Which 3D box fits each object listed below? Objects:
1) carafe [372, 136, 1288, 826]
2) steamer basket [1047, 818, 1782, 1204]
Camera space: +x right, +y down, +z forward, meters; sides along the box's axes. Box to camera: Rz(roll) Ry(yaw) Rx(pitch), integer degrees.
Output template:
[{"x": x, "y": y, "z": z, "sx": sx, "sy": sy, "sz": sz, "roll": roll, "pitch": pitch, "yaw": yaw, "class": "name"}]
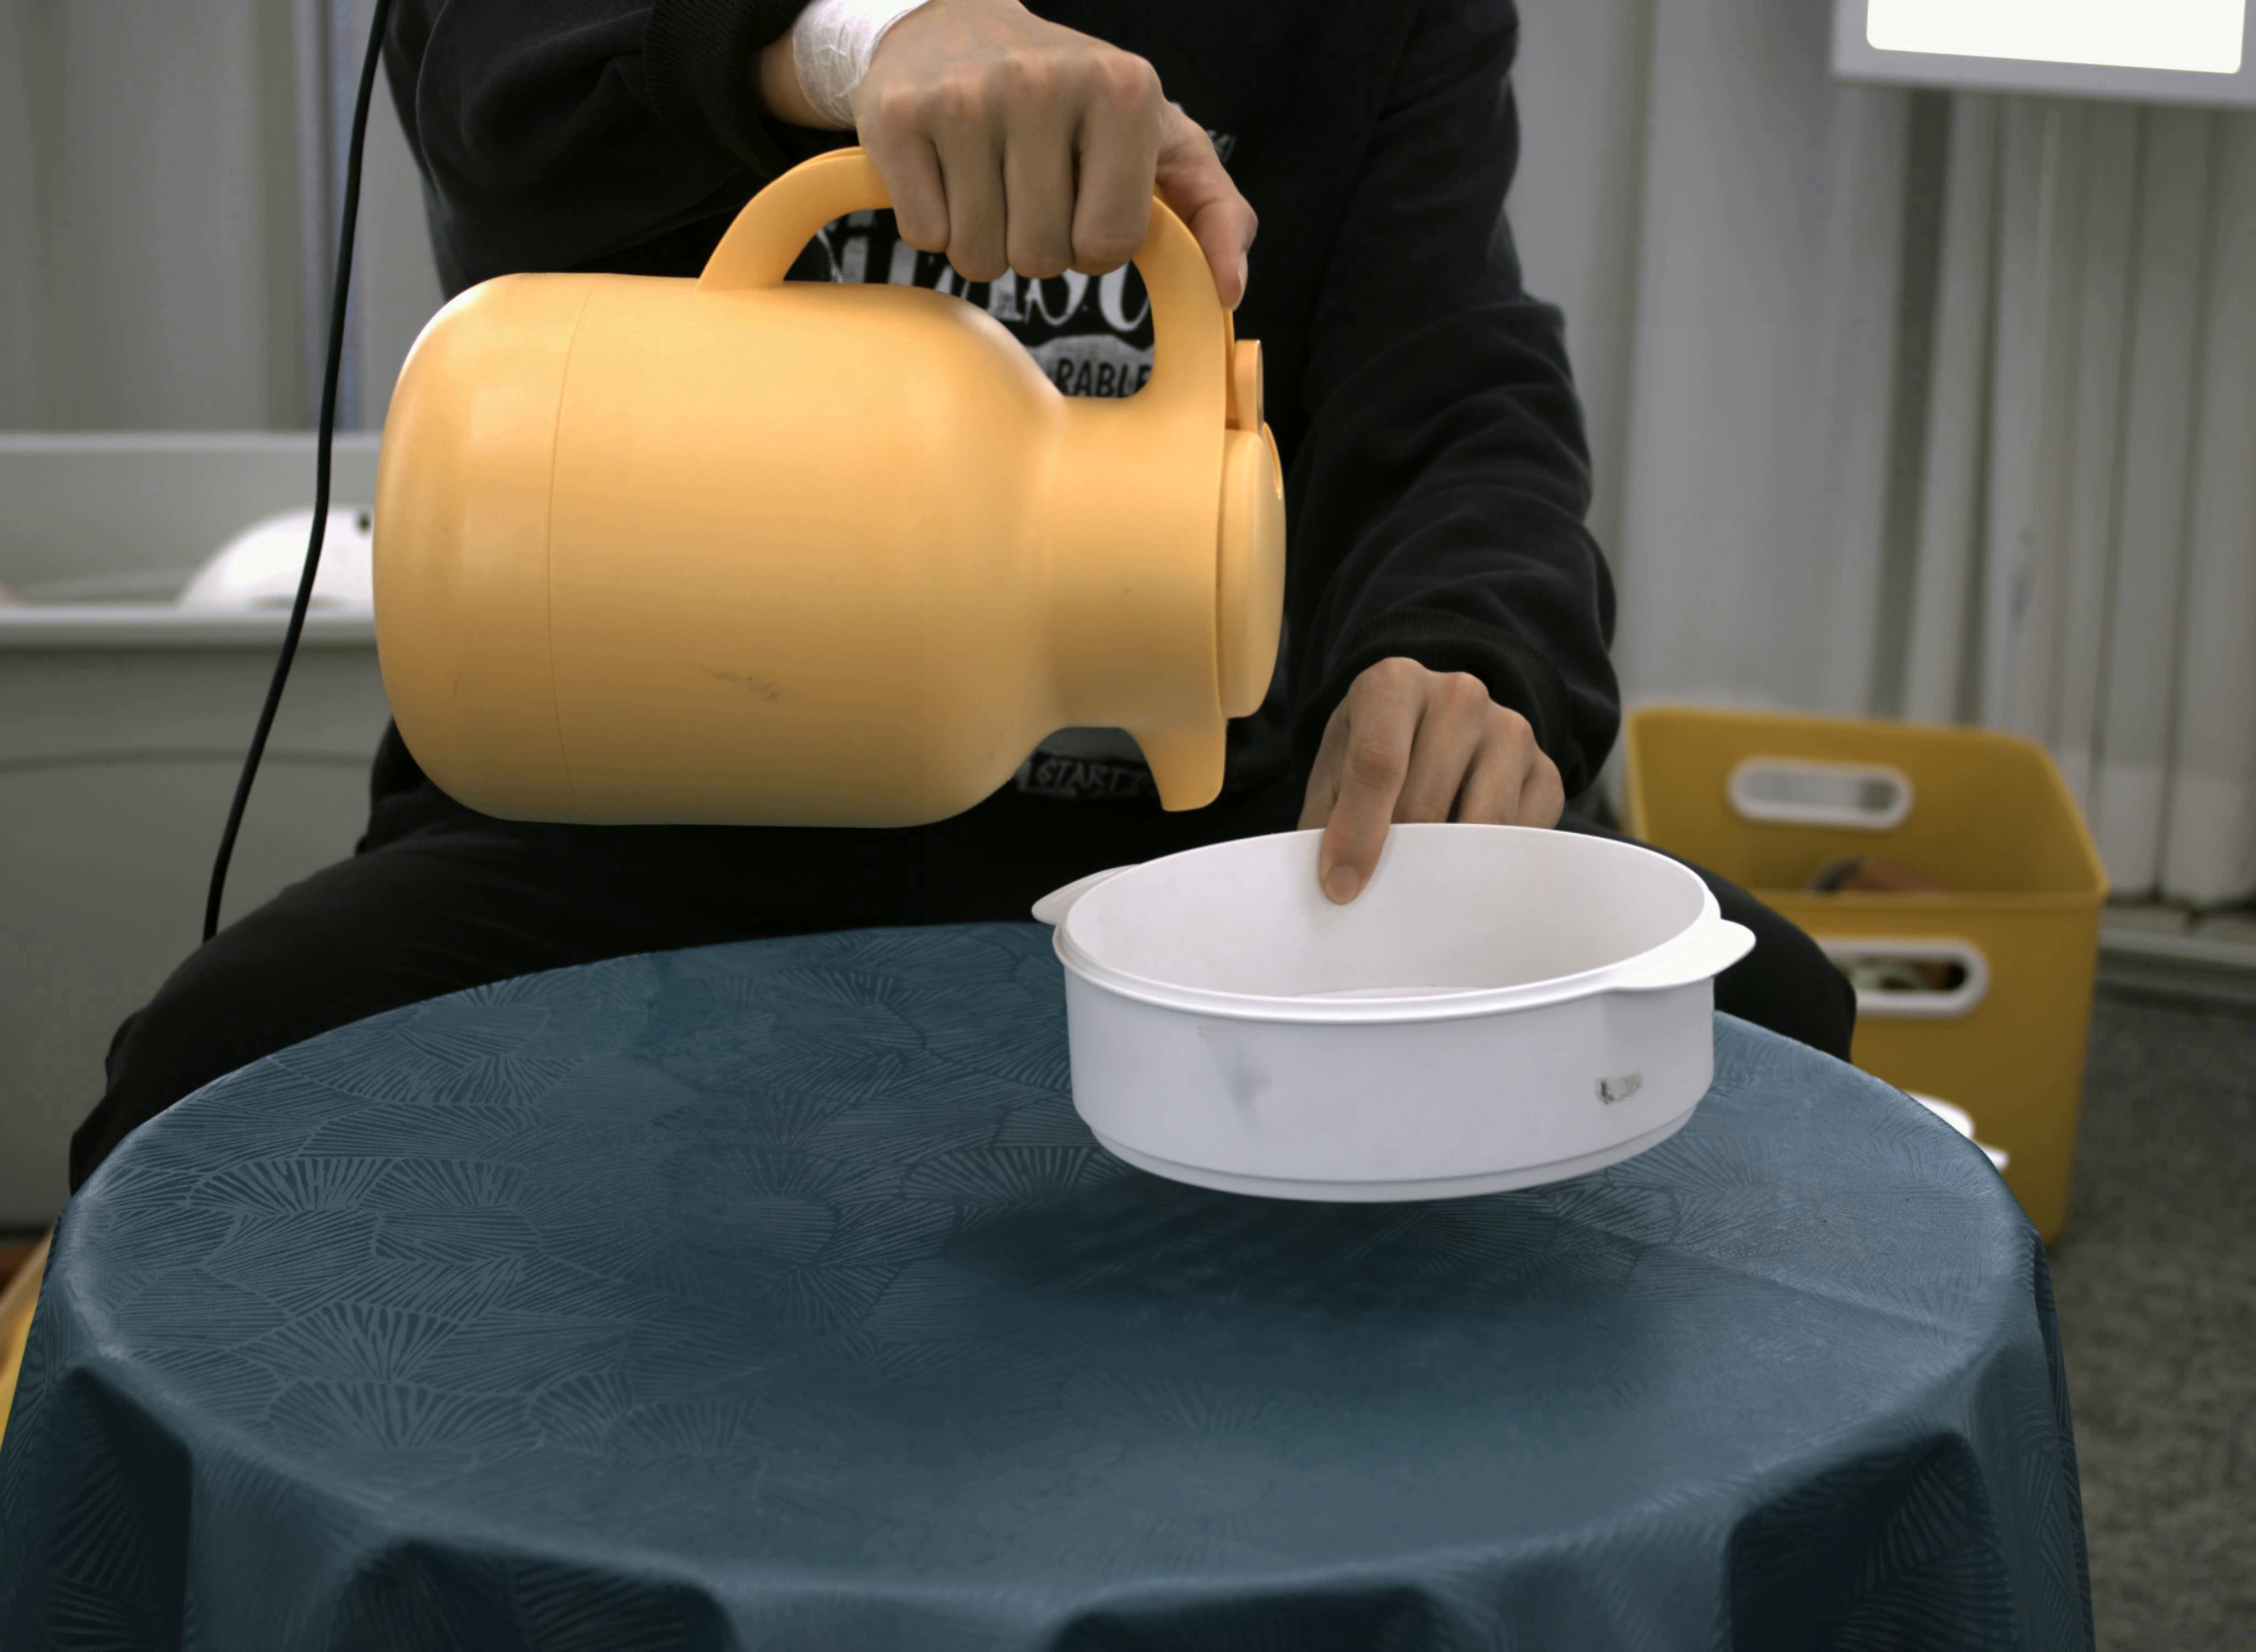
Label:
[{"x": -0.083, "y": -0.101, "z": 1.540, "sx": 0.259, "sy": 0.204, "sz": 0.163, "roll": 3, "pitch": 11, "yaw": 3, "class": "carafe"}, {"x": 0.083, "y": 0.055, "z": 1.579, "sx": 0.228, "sy": 0.070, "sz": 0.202, "roll": 9, "pitch": 18, "yaw": 29, "class": "steamer basket"}]
